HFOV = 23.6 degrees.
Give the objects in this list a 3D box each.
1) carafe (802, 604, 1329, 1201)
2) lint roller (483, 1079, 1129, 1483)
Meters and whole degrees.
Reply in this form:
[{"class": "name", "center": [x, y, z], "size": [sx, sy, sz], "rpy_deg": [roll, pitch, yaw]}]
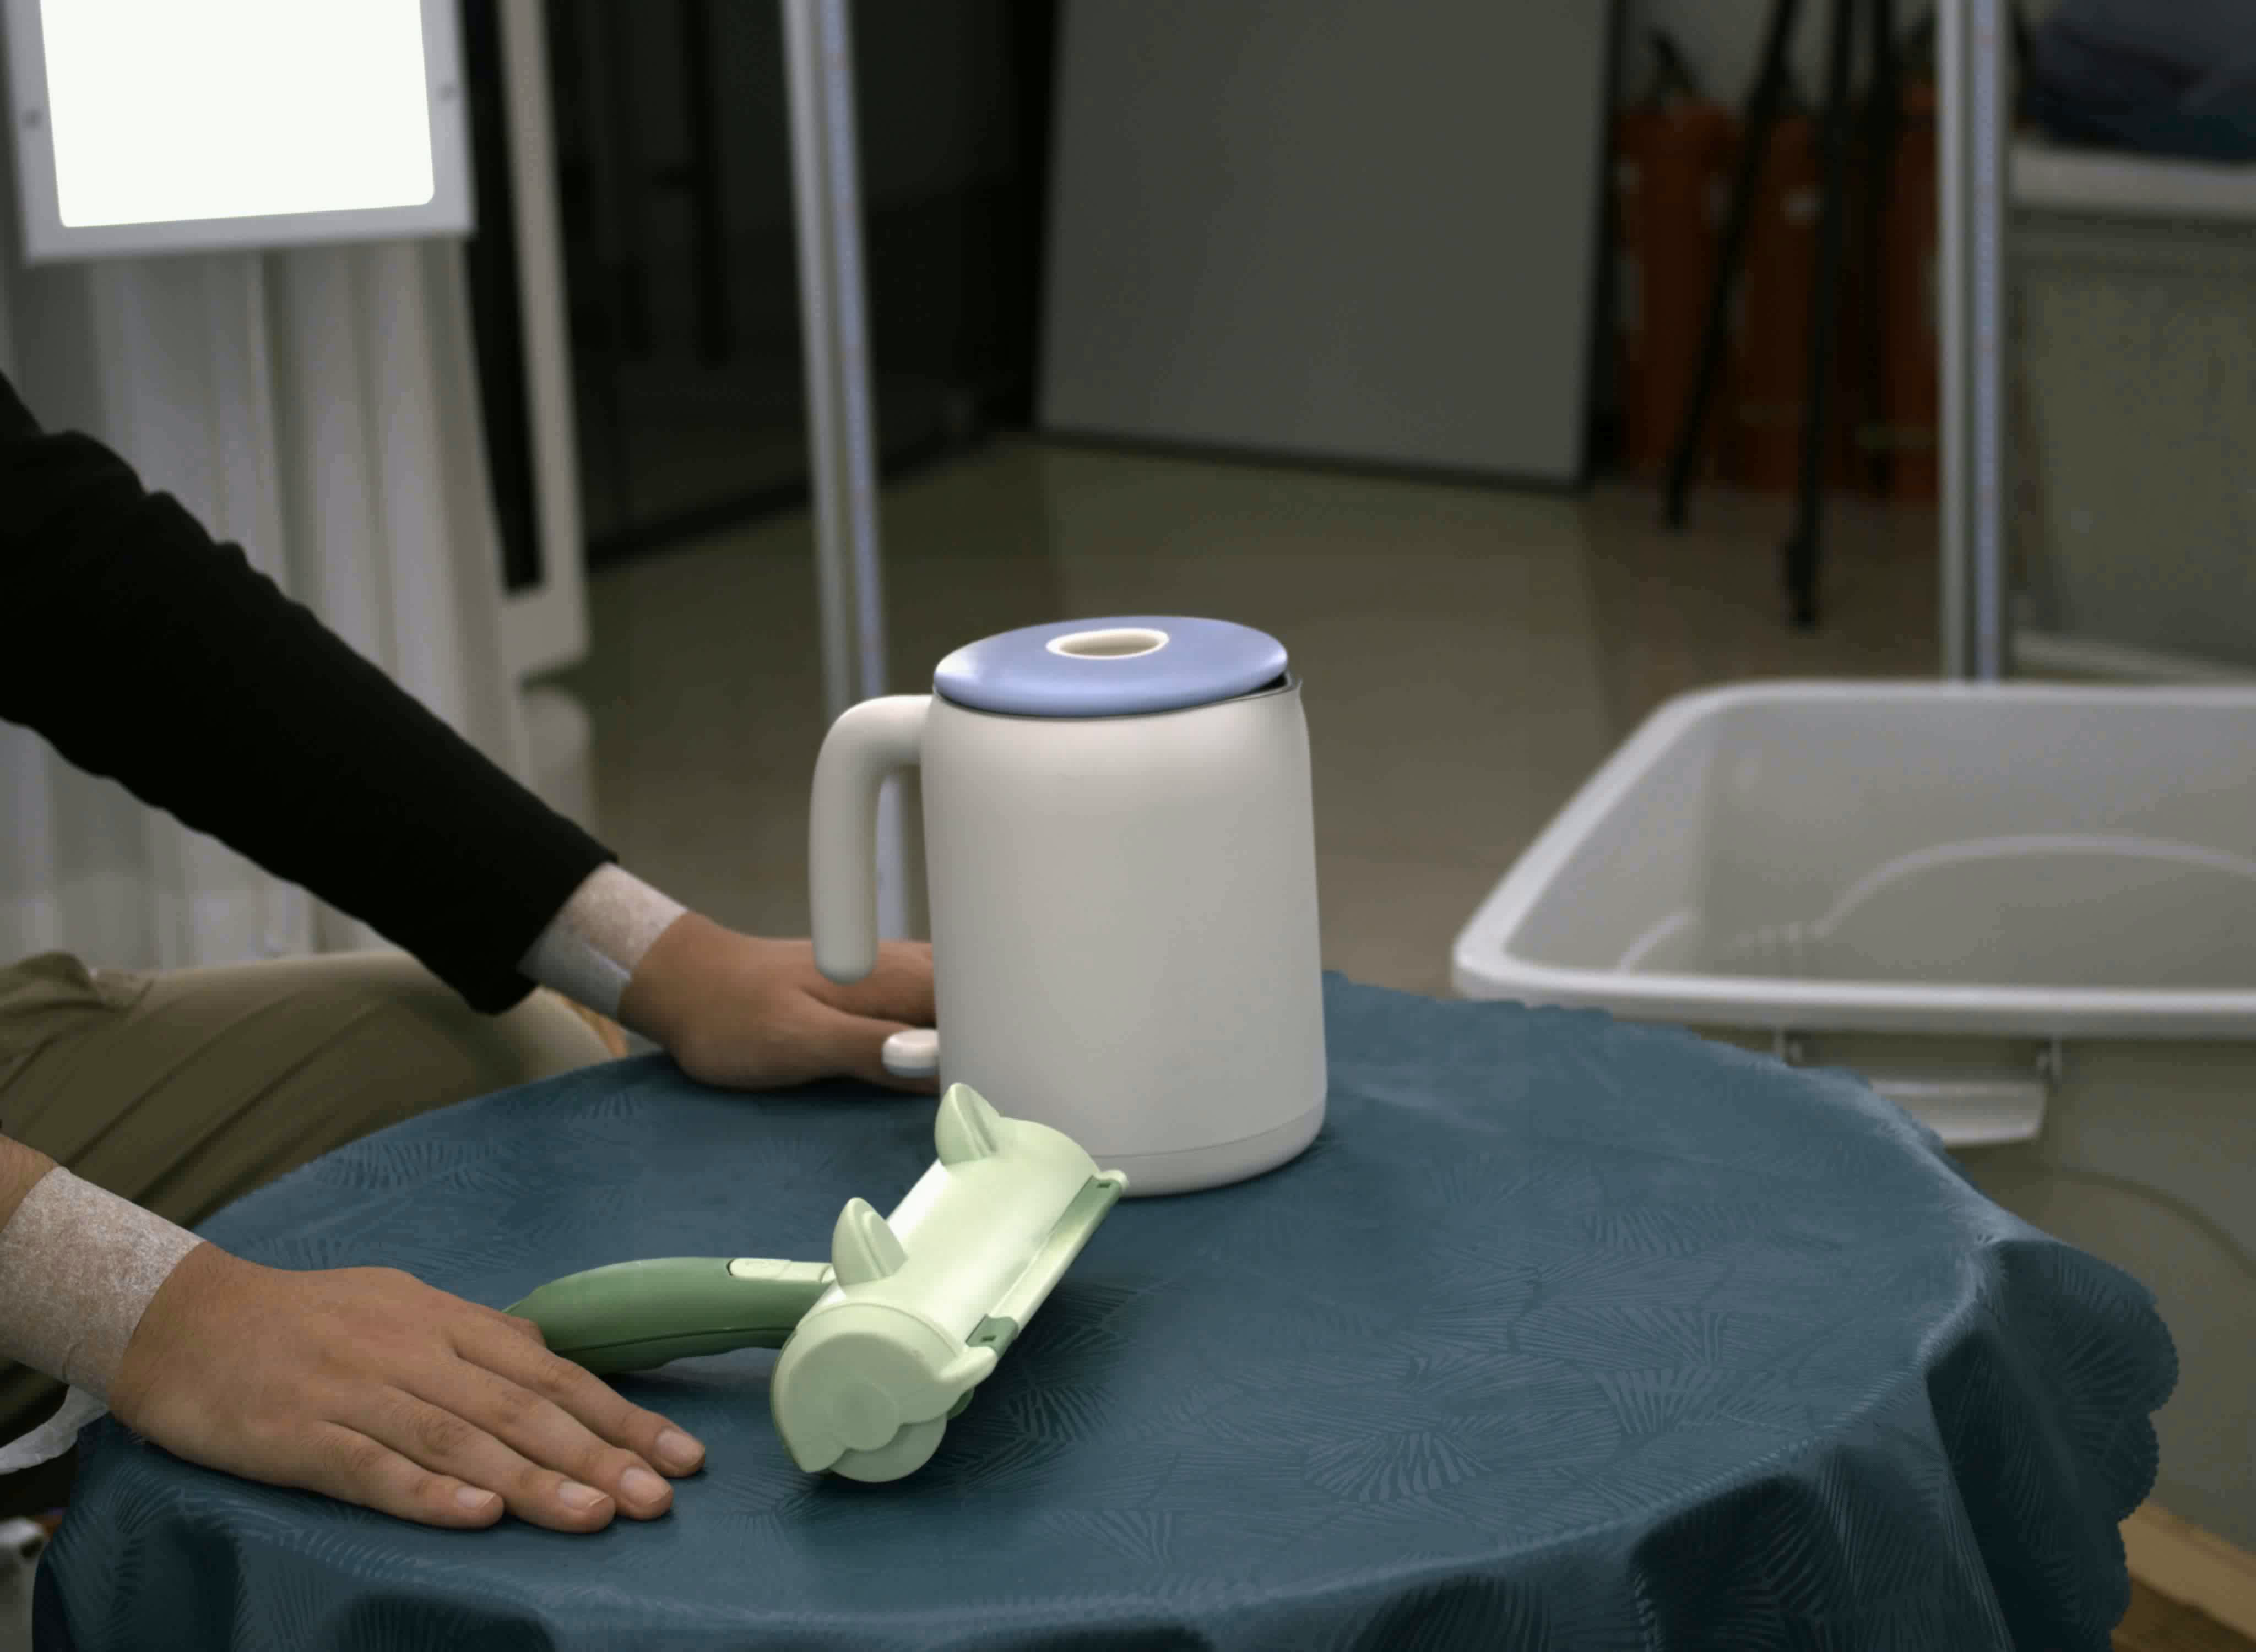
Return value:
[{"class": "carafe", "center": [-0.024, 0.024, 1.808], "size": [0.191, 0.184, 0.130], "rpy_deg": [0, 13, 25]}, {"class": "lint roller", "center": [-0.107, 0.129, 1.608], "size": [0.182, 0.083, 0.197], "rpy_deg": [2, 13, 14]}]
